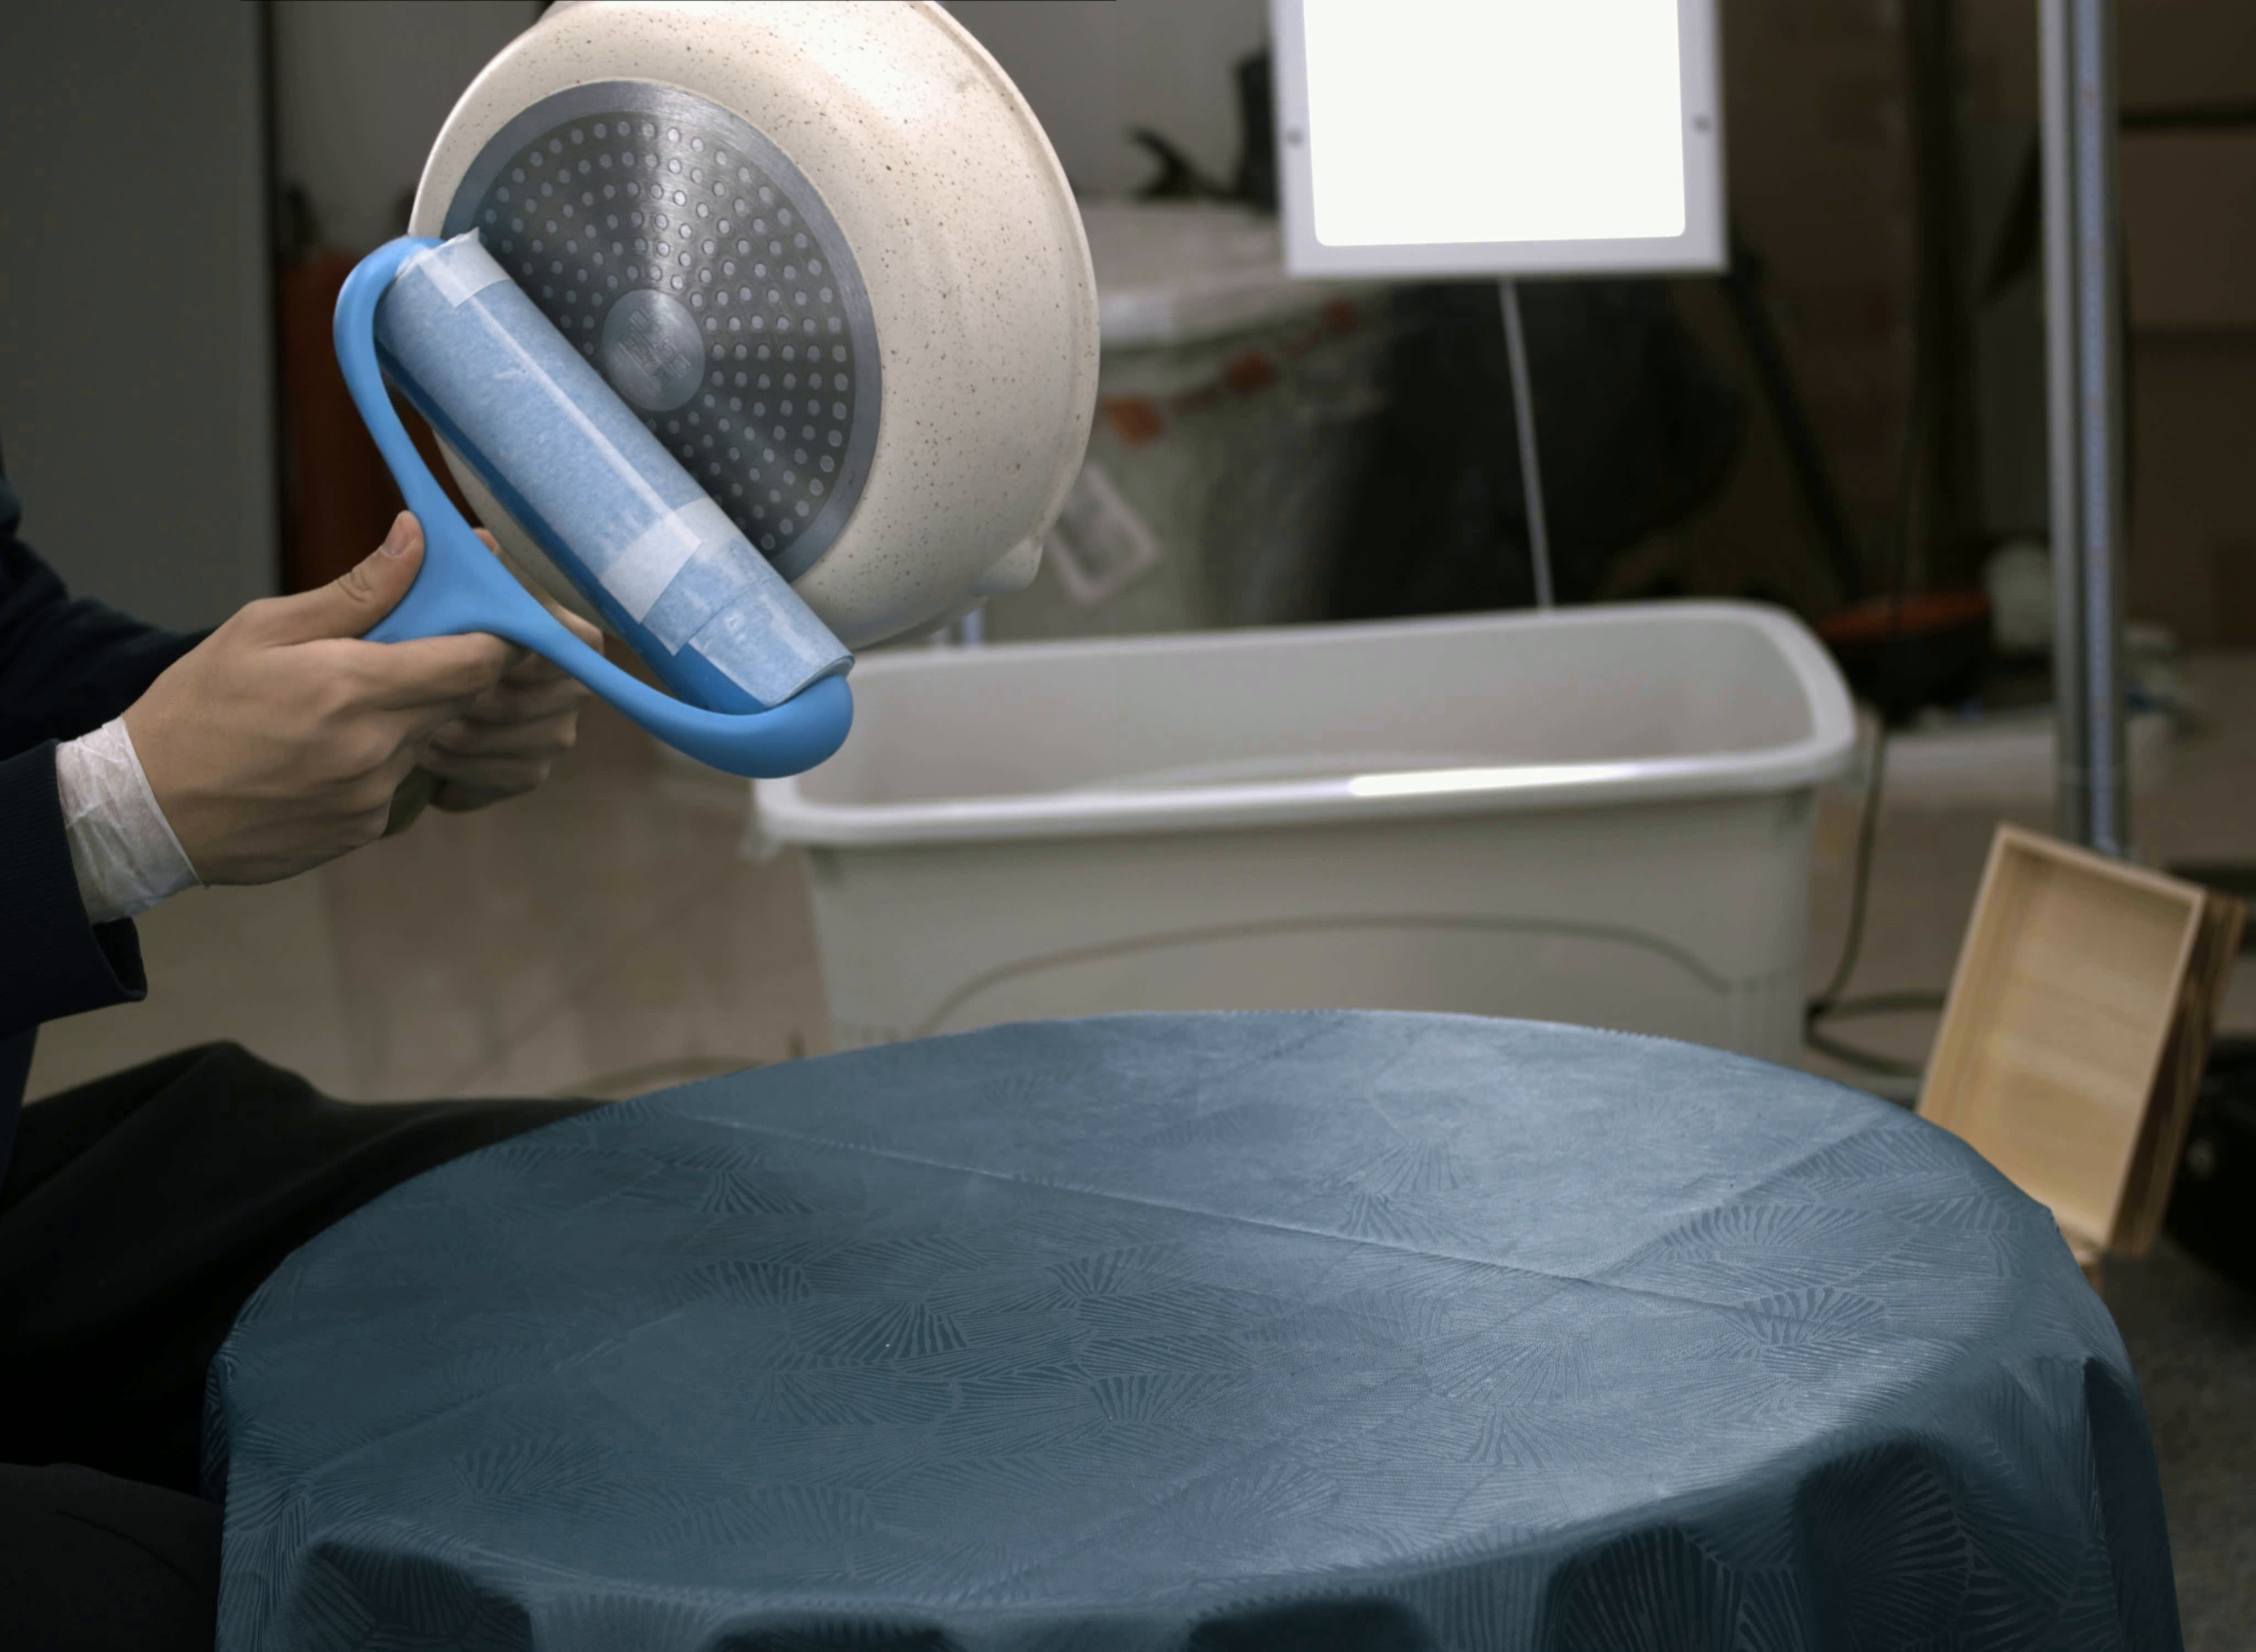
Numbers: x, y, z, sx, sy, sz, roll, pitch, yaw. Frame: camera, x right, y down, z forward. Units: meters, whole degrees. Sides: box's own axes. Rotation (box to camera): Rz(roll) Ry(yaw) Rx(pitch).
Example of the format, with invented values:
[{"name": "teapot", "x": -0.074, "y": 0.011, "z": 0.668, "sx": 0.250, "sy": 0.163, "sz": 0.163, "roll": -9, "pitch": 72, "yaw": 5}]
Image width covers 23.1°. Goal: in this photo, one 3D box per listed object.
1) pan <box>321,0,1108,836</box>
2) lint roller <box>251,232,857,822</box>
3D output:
[{"name": "pan", "x": -0.186, "y": -0.115, "z": 1.919, "sx": 0.443, "sy": 0.264, "sz": 0.100, "roll": -45, "pitch": -8, "yaw": 36}, {"name": "lint roller", "x": -0.215, "y": -0.069, "z": 1.810, "sx": 0.179, "sy": 0.230, "sz": 0.068, "roll": -44, "pitch": -8, "yaw": -11}]
